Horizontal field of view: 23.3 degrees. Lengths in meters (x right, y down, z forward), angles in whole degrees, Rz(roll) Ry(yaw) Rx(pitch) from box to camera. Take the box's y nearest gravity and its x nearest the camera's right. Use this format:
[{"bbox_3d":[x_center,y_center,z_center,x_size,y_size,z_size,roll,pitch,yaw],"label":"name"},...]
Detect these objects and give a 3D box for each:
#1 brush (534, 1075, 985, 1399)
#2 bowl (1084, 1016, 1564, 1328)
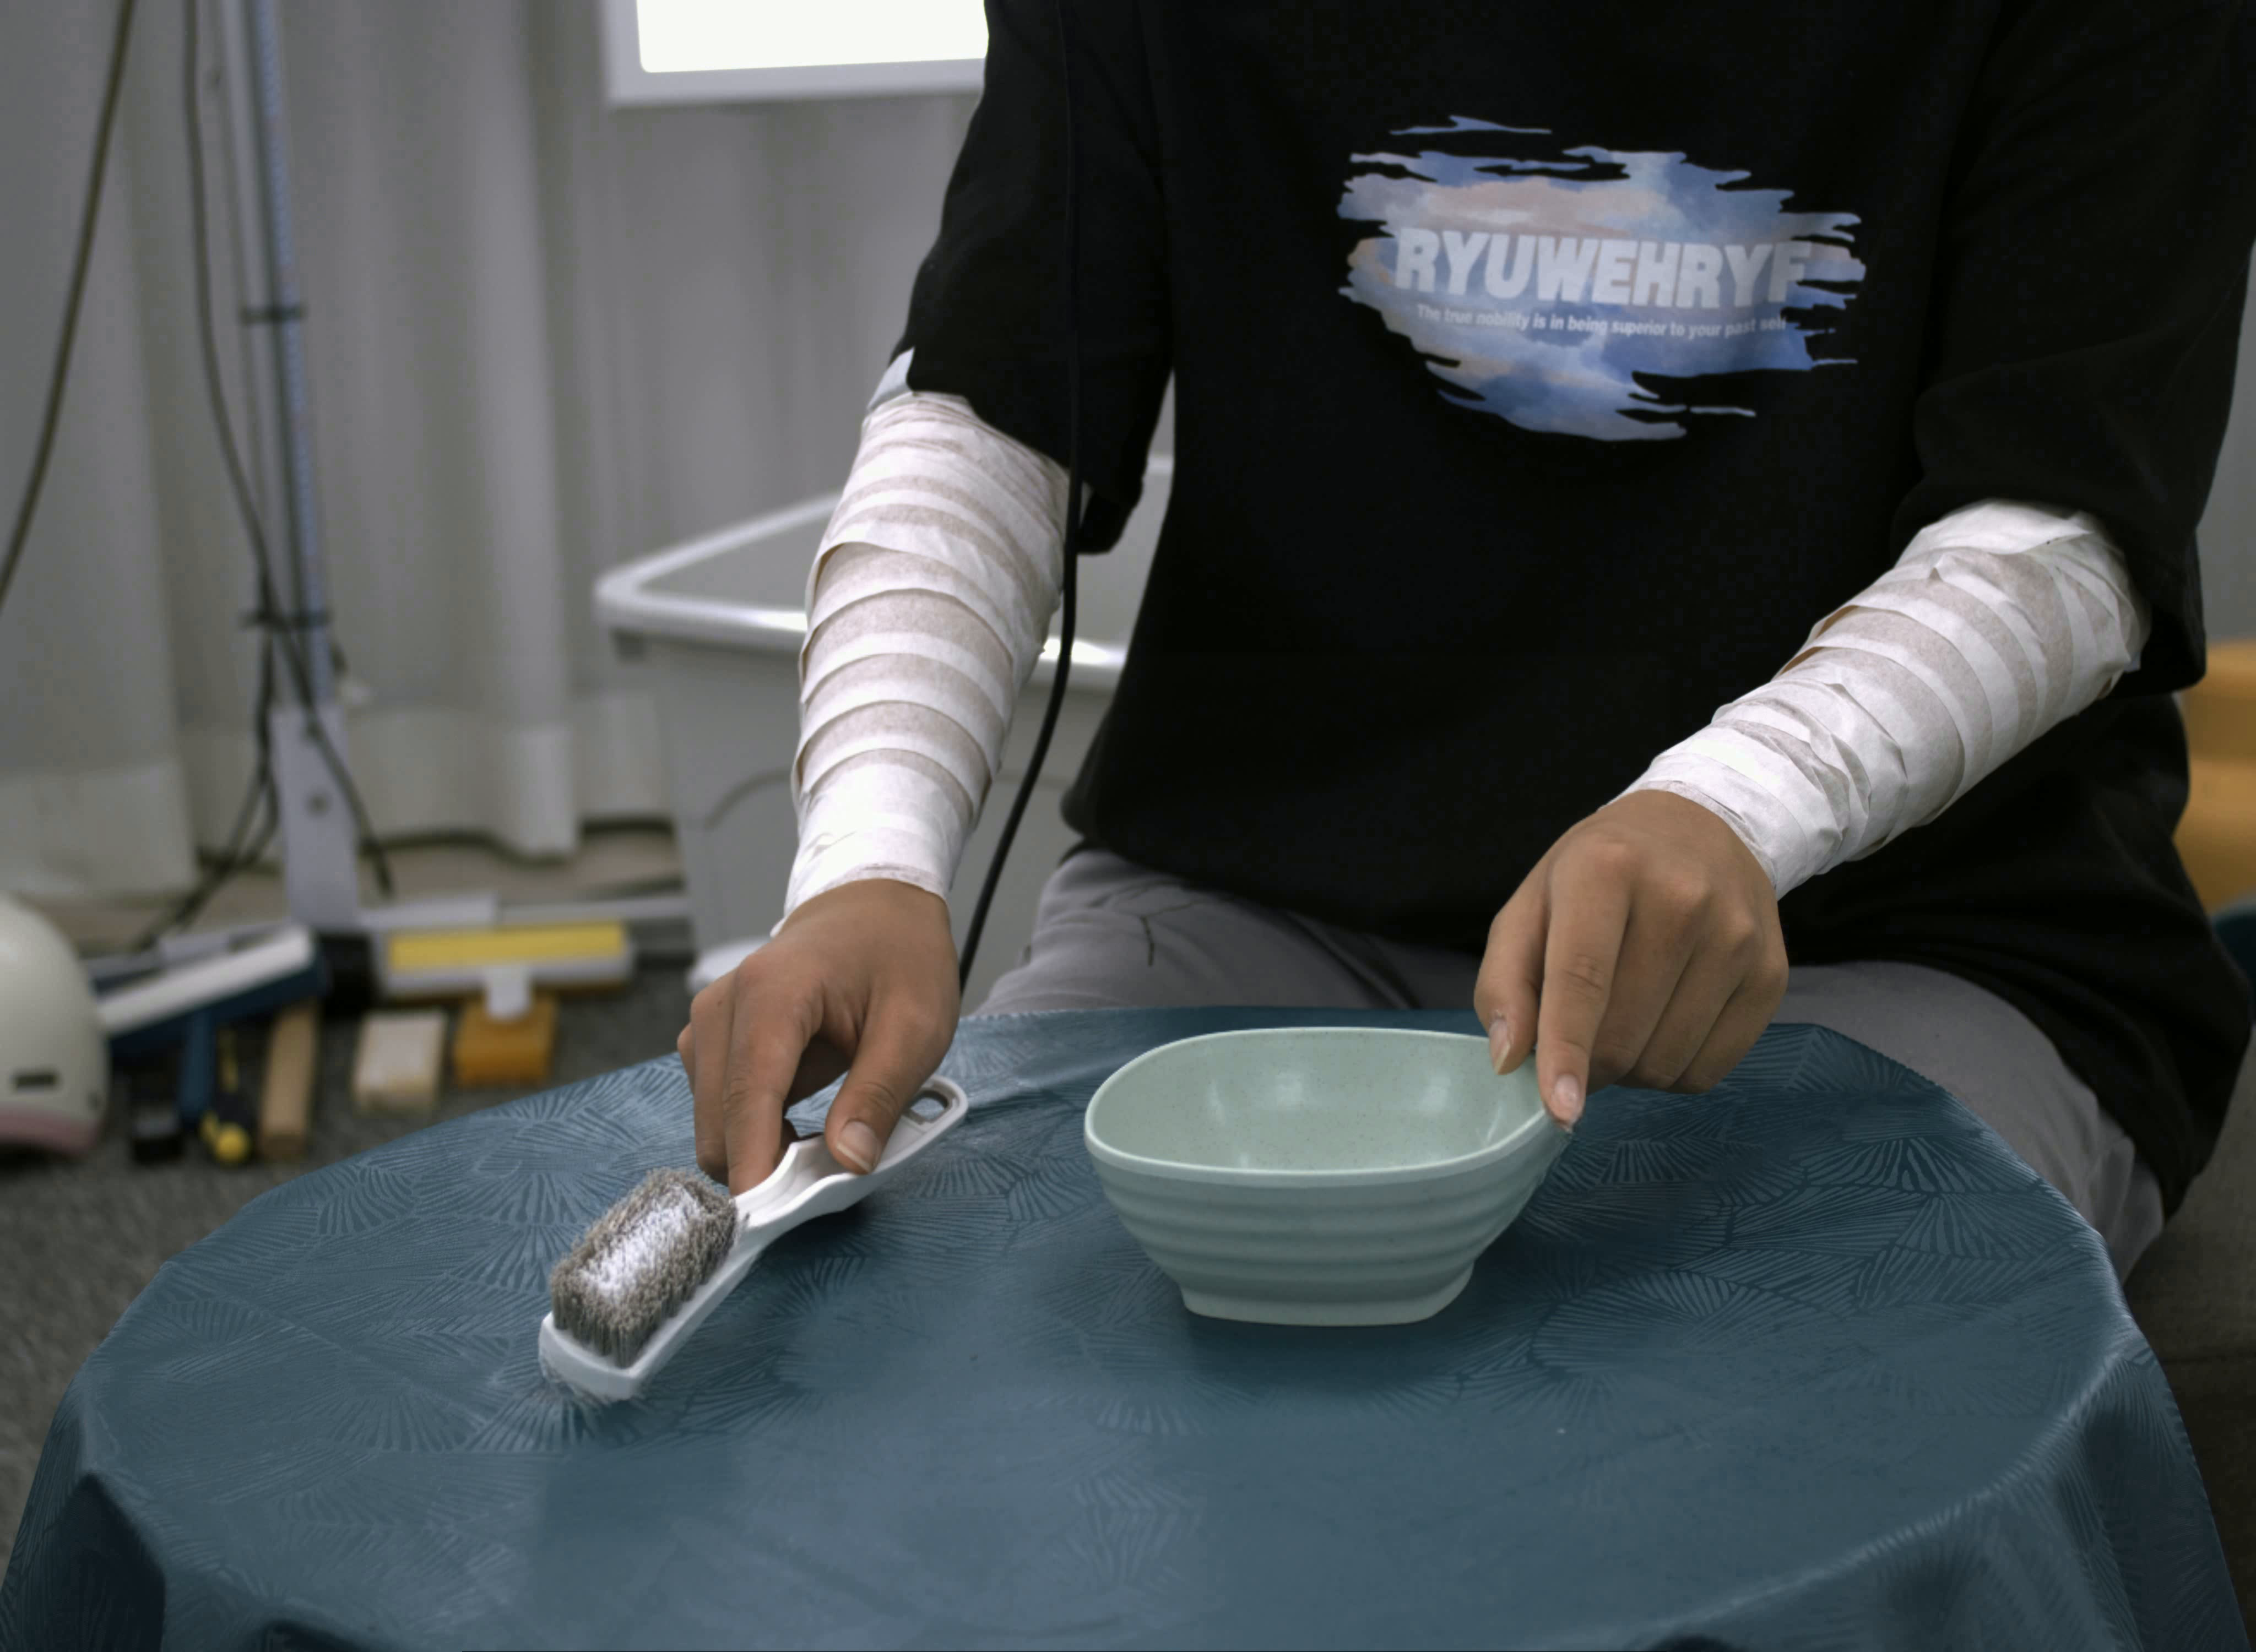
[{"bbox_3d":[-0.101,0.105,1.638,0.034,0.050,0.244,31,29,16],"label":"brush"},{"bbox_3d":[0.058,0.106,1.620,0.151,0.058,0.152,-1,16,0],"label":"bowl"}]
